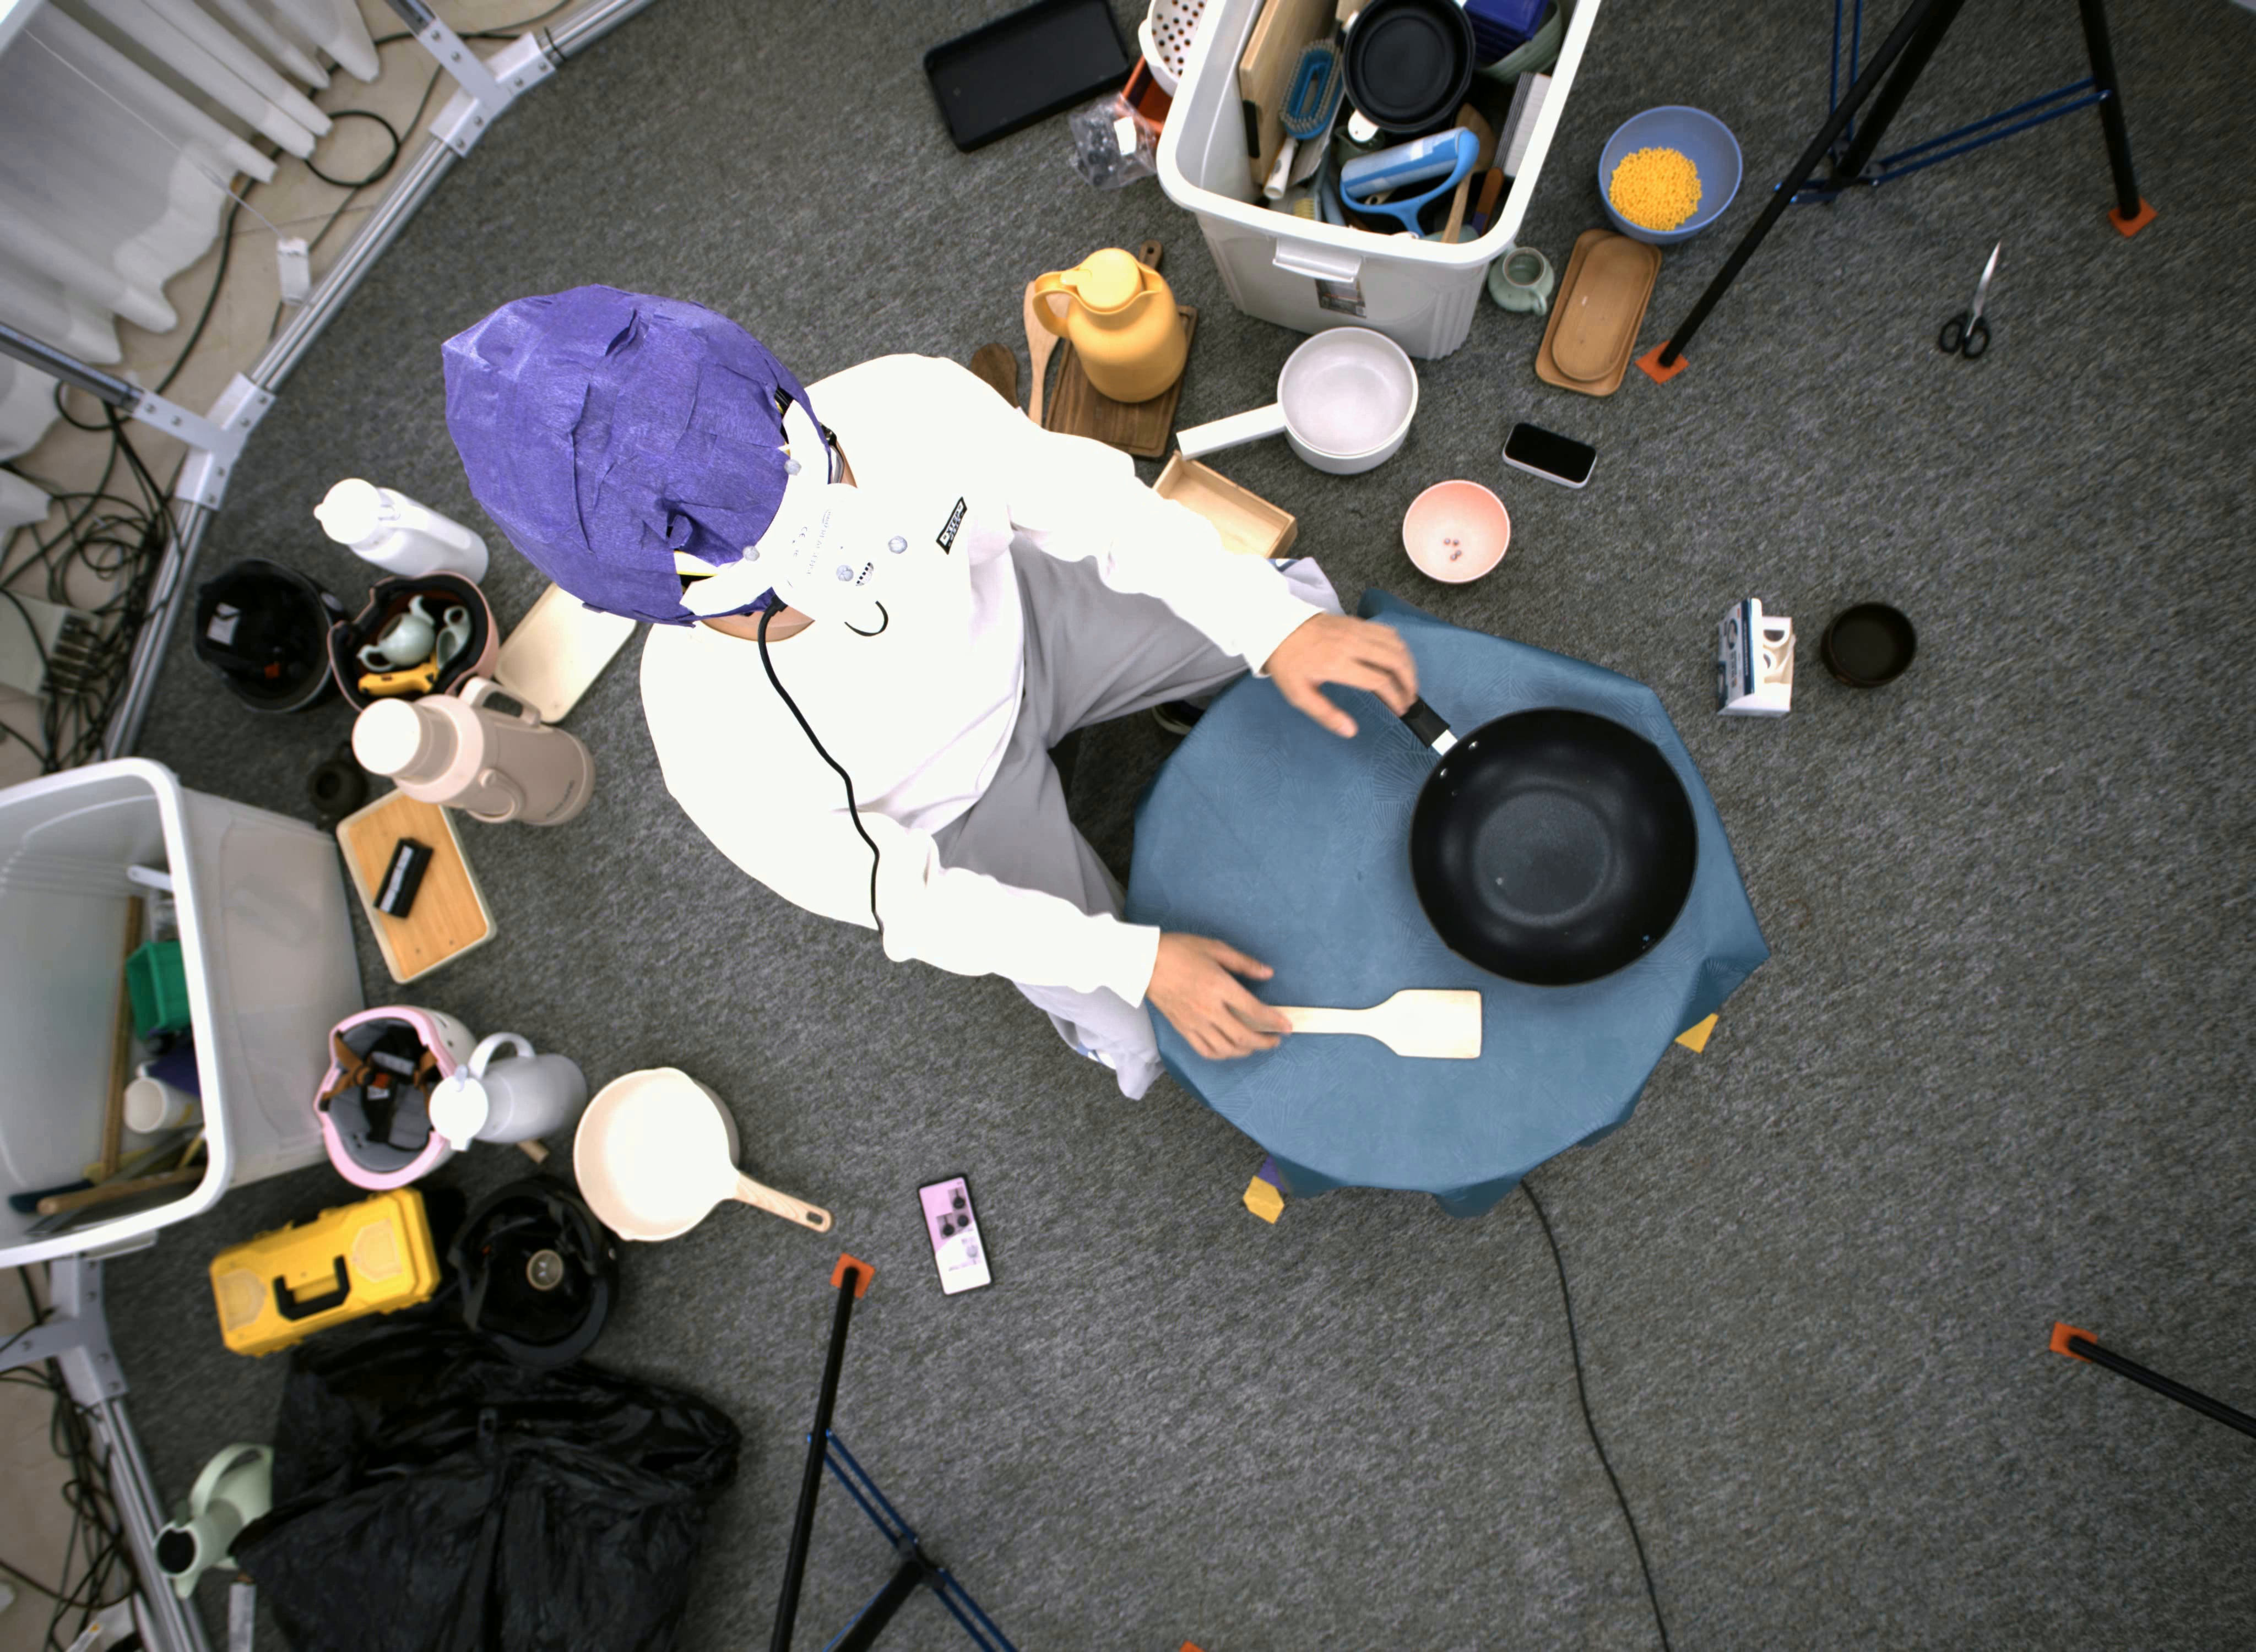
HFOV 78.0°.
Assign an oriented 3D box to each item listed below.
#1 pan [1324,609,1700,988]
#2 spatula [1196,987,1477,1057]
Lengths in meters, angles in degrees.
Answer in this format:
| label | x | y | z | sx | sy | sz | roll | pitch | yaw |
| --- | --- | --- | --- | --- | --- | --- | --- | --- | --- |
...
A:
| label | x | y | z | sx | sy | sz | roll | pitch | yaw |
| --- | --- | --- | --- | --- | --- | --- | --- | --- | --- |
| pan | 0.364 | -0.043 | 1.407 | 0.289 | 0.087 | 0.461 | -44 | 79 | 5 |
| spatula | 0.218 | 0.202 | 1.458 | 0.294 | 0.010 | 0.072 | 0 | 88 | 11 |
